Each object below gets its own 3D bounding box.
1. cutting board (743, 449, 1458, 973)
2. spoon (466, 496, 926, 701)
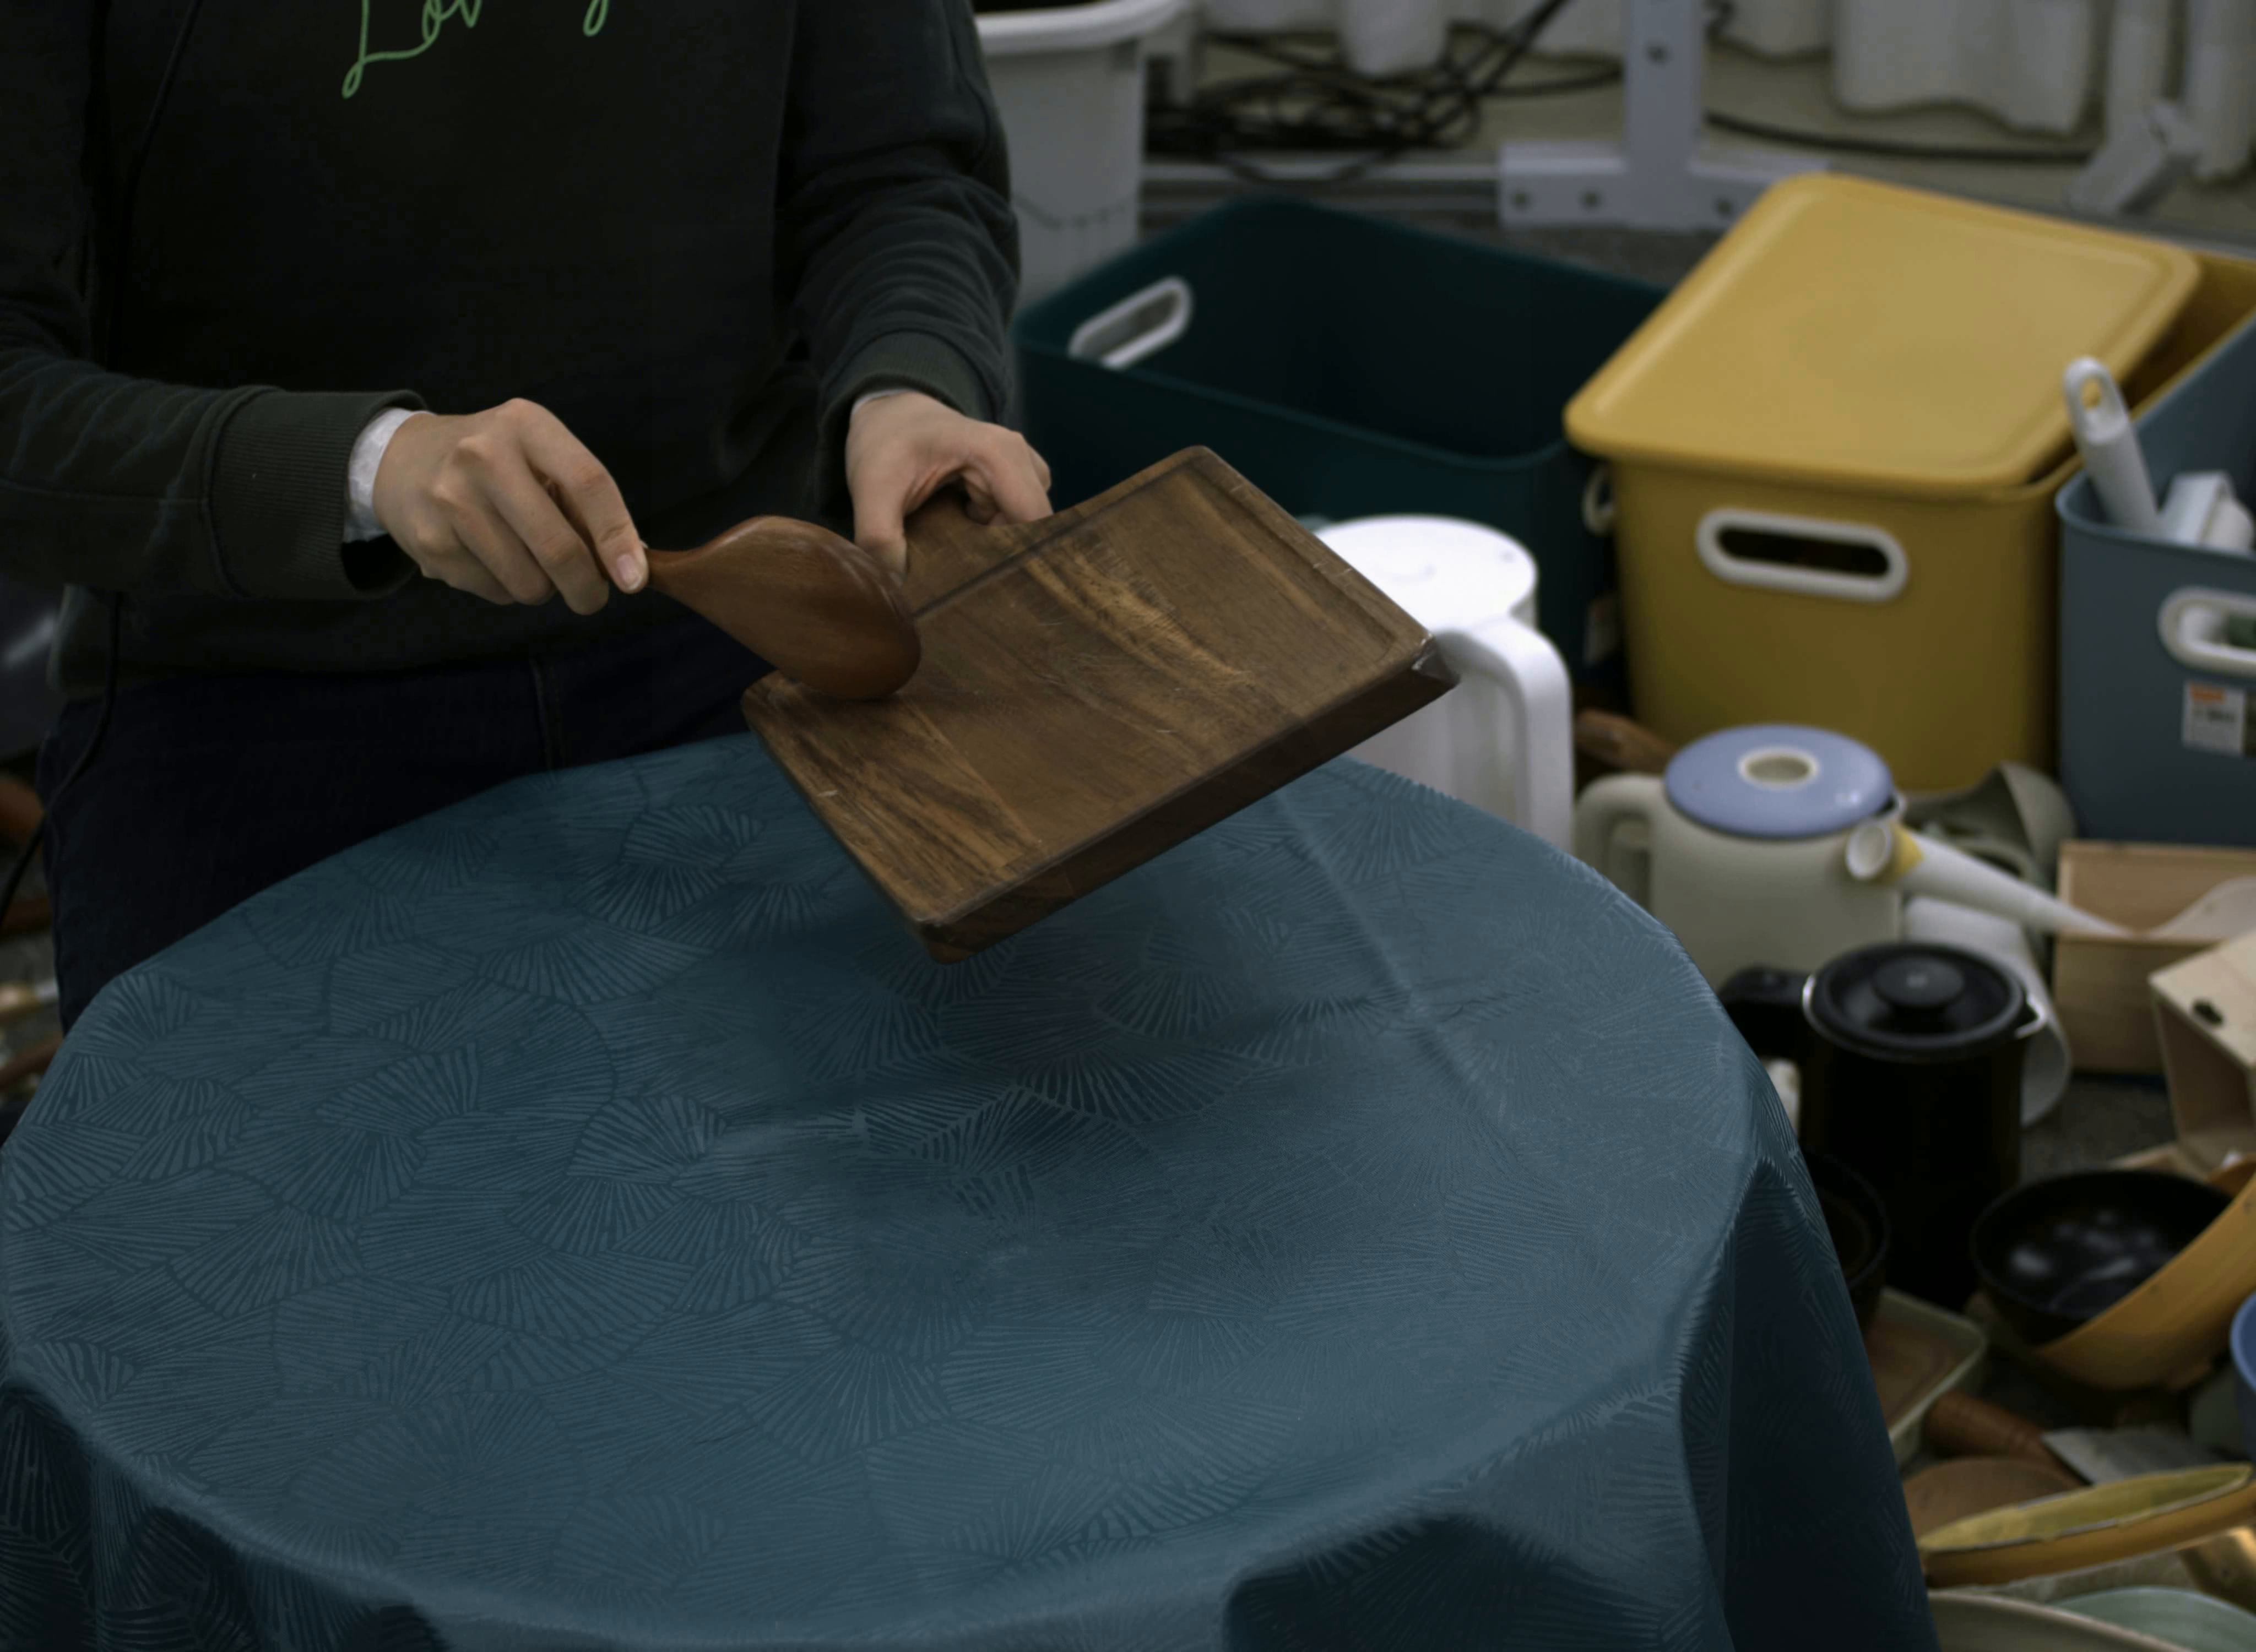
[{"bbox_3d":[-0.030,-0.060,1.969,0.201,0.023,0.354,-30,25,-7],"label":"cutting board"},{"bbox_3d":[-0.157,-0.086,2.000,0.215,0.074,0.017,16,49,37],"label":"spoon"}]
